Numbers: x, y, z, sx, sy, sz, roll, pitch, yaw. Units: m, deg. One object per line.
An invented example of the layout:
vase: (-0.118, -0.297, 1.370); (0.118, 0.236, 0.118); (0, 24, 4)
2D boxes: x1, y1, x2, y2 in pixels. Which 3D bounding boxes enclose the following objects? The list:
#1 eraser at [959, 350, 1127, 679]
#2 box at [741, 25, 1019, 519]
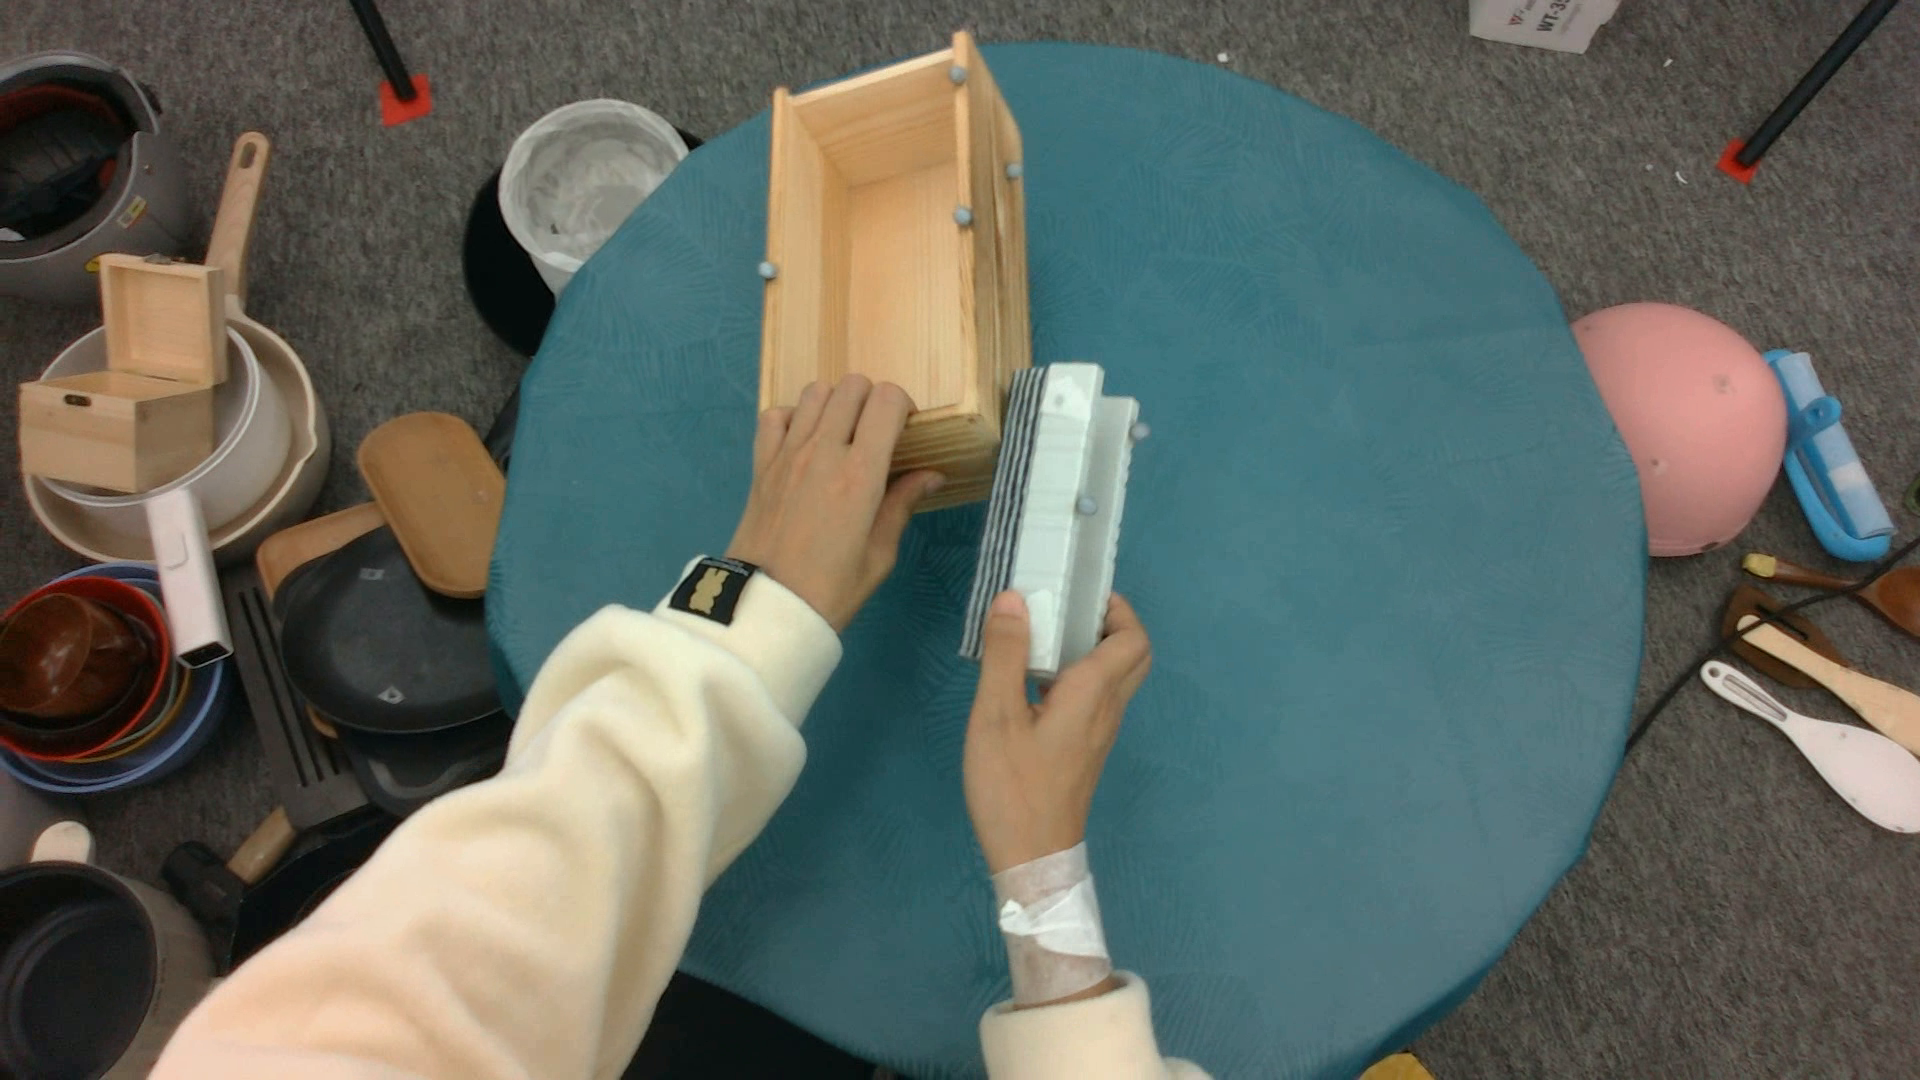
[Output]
eraser: (0.036, -0.011, 0.595); (0.046, 0.050, 0.134); (2, 77, 28)
box: (-0.035, -0.128, 0.663); (0.107, 0.080, 0.212); (-11, 63, 18)
